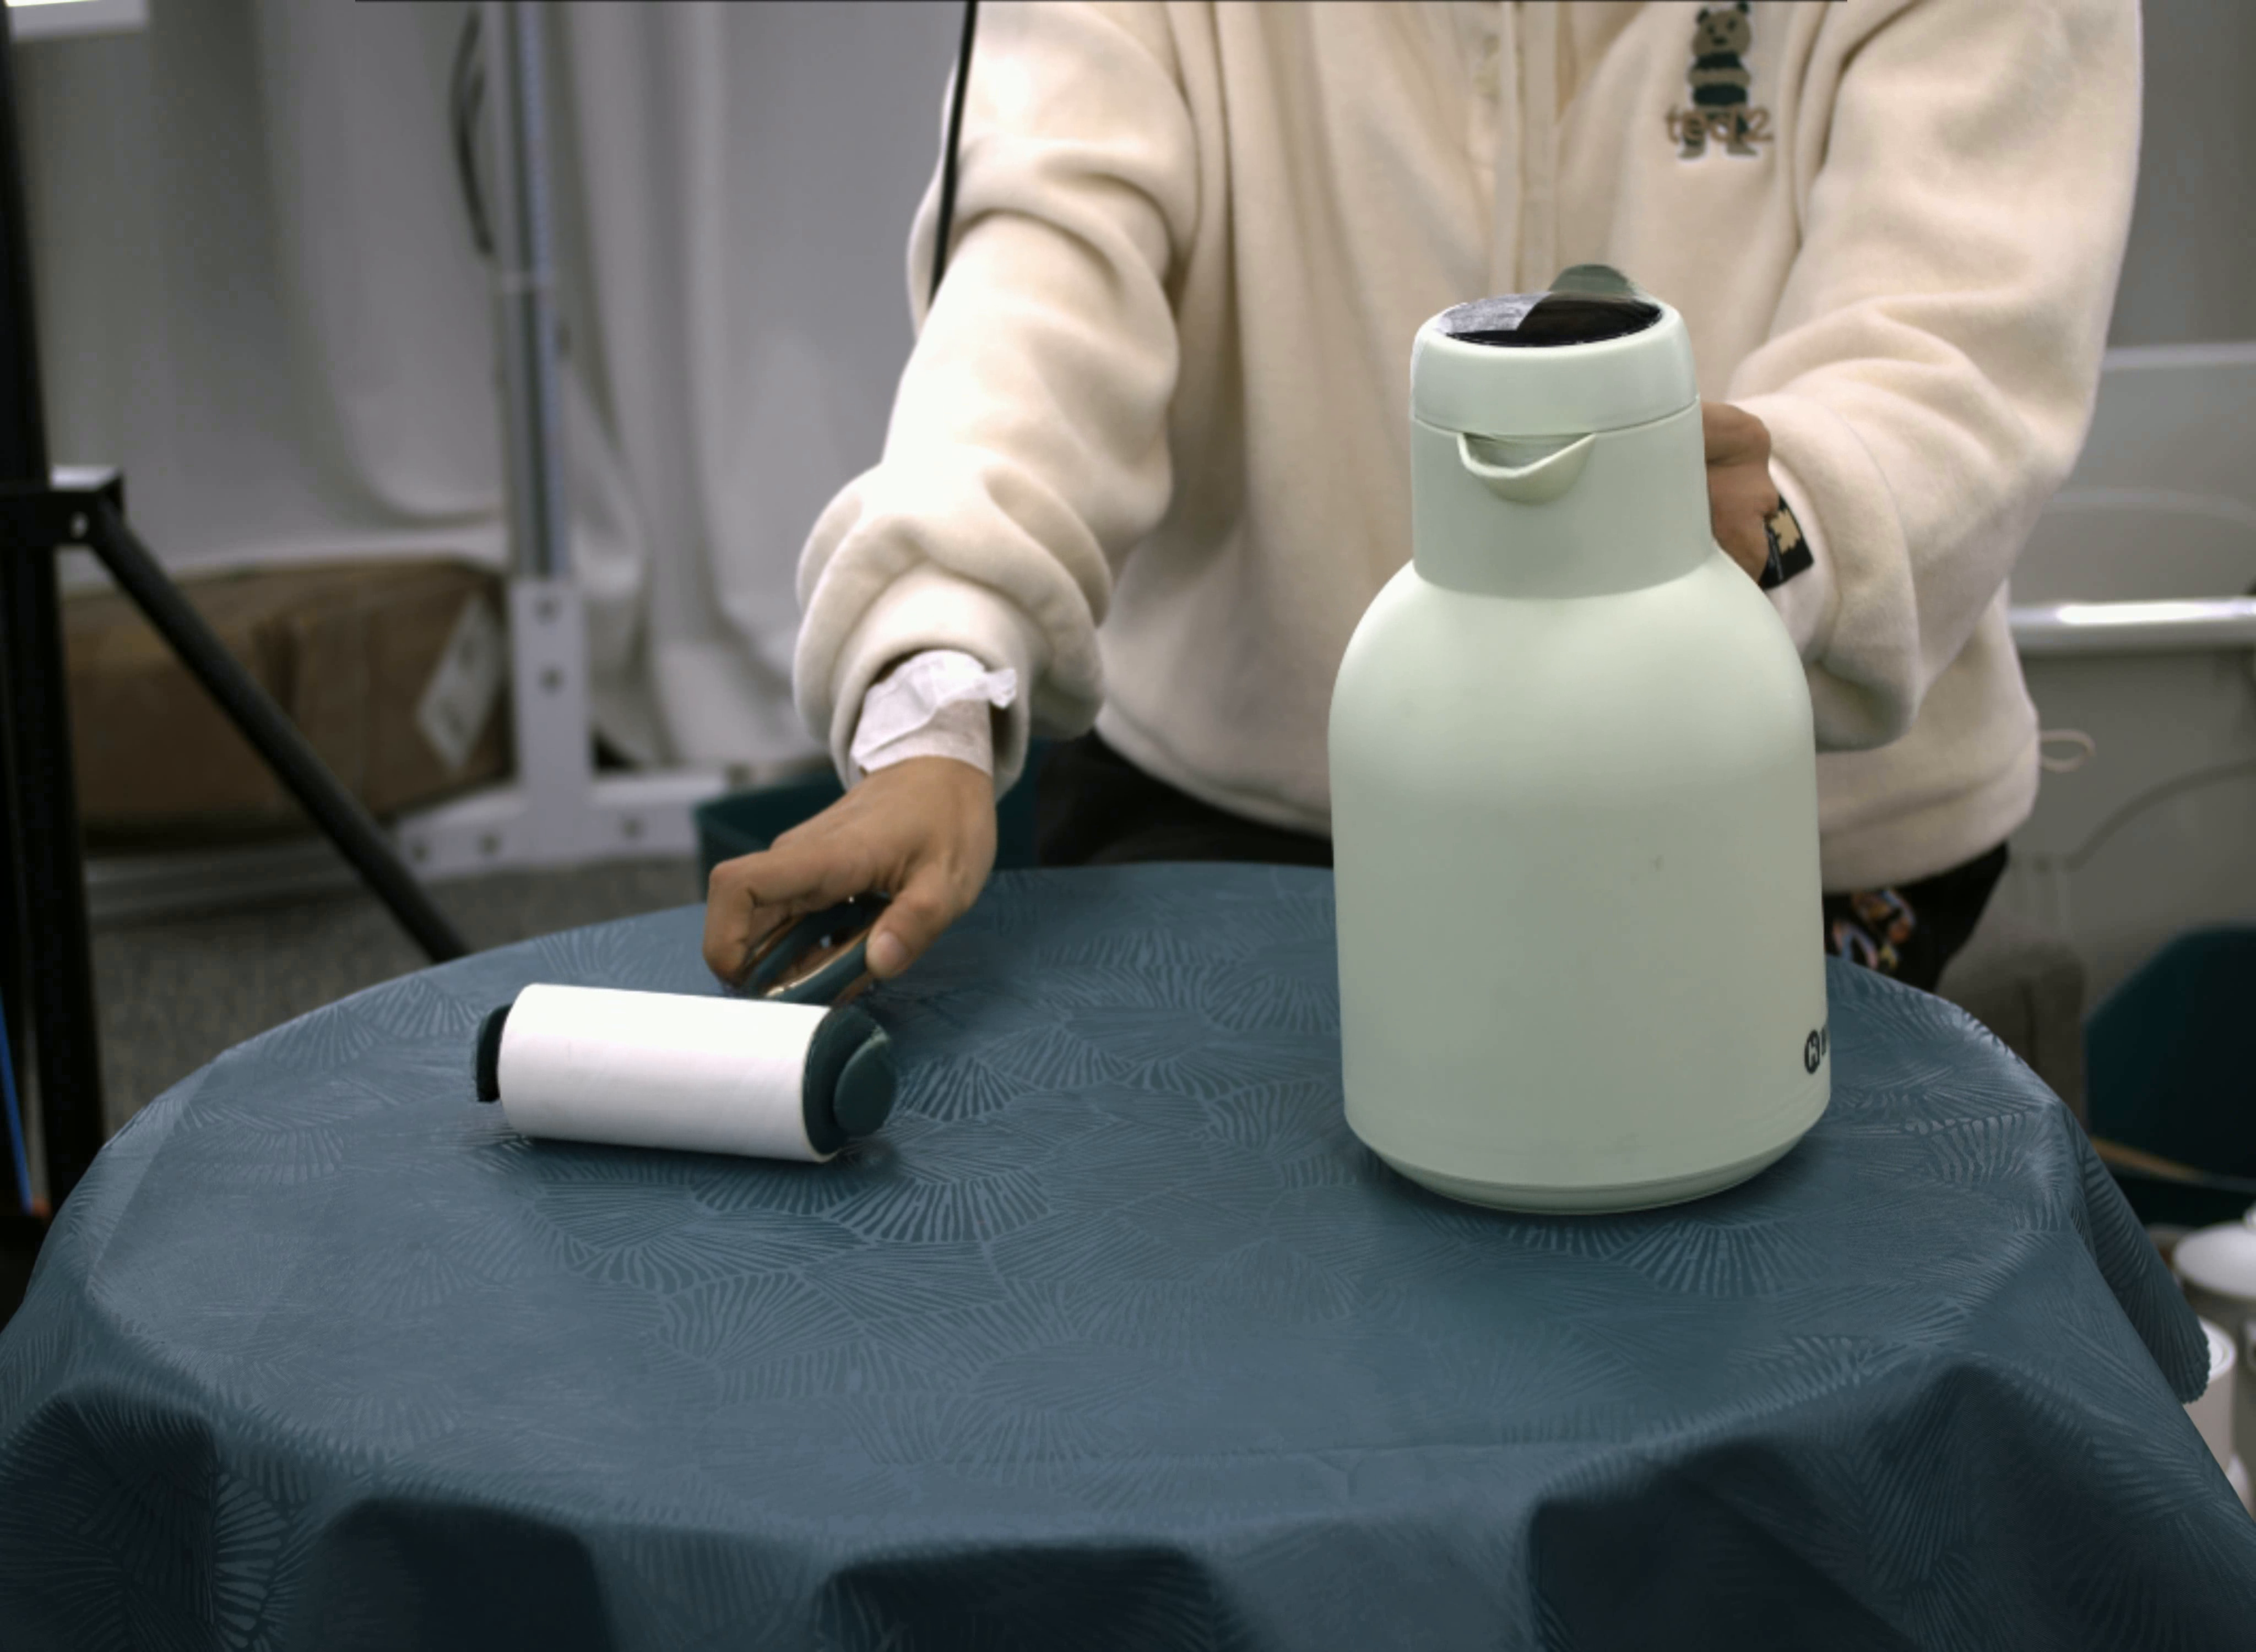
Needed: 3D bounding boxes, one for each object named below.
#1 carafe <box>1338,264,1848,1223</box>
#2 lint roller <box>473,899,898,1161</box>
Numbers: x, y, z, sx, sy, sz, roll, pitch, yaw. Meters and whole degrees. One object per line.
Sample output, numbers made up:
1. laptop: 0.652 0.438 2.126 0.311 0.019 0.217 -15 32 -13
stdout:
1. carafe: 0.135 -0.028 1.547 0.146 0.257 0.185 0 14 19
2. lint roller: -0.114 0.045 1.667 0.136 0.048 0.178 4 27 20
